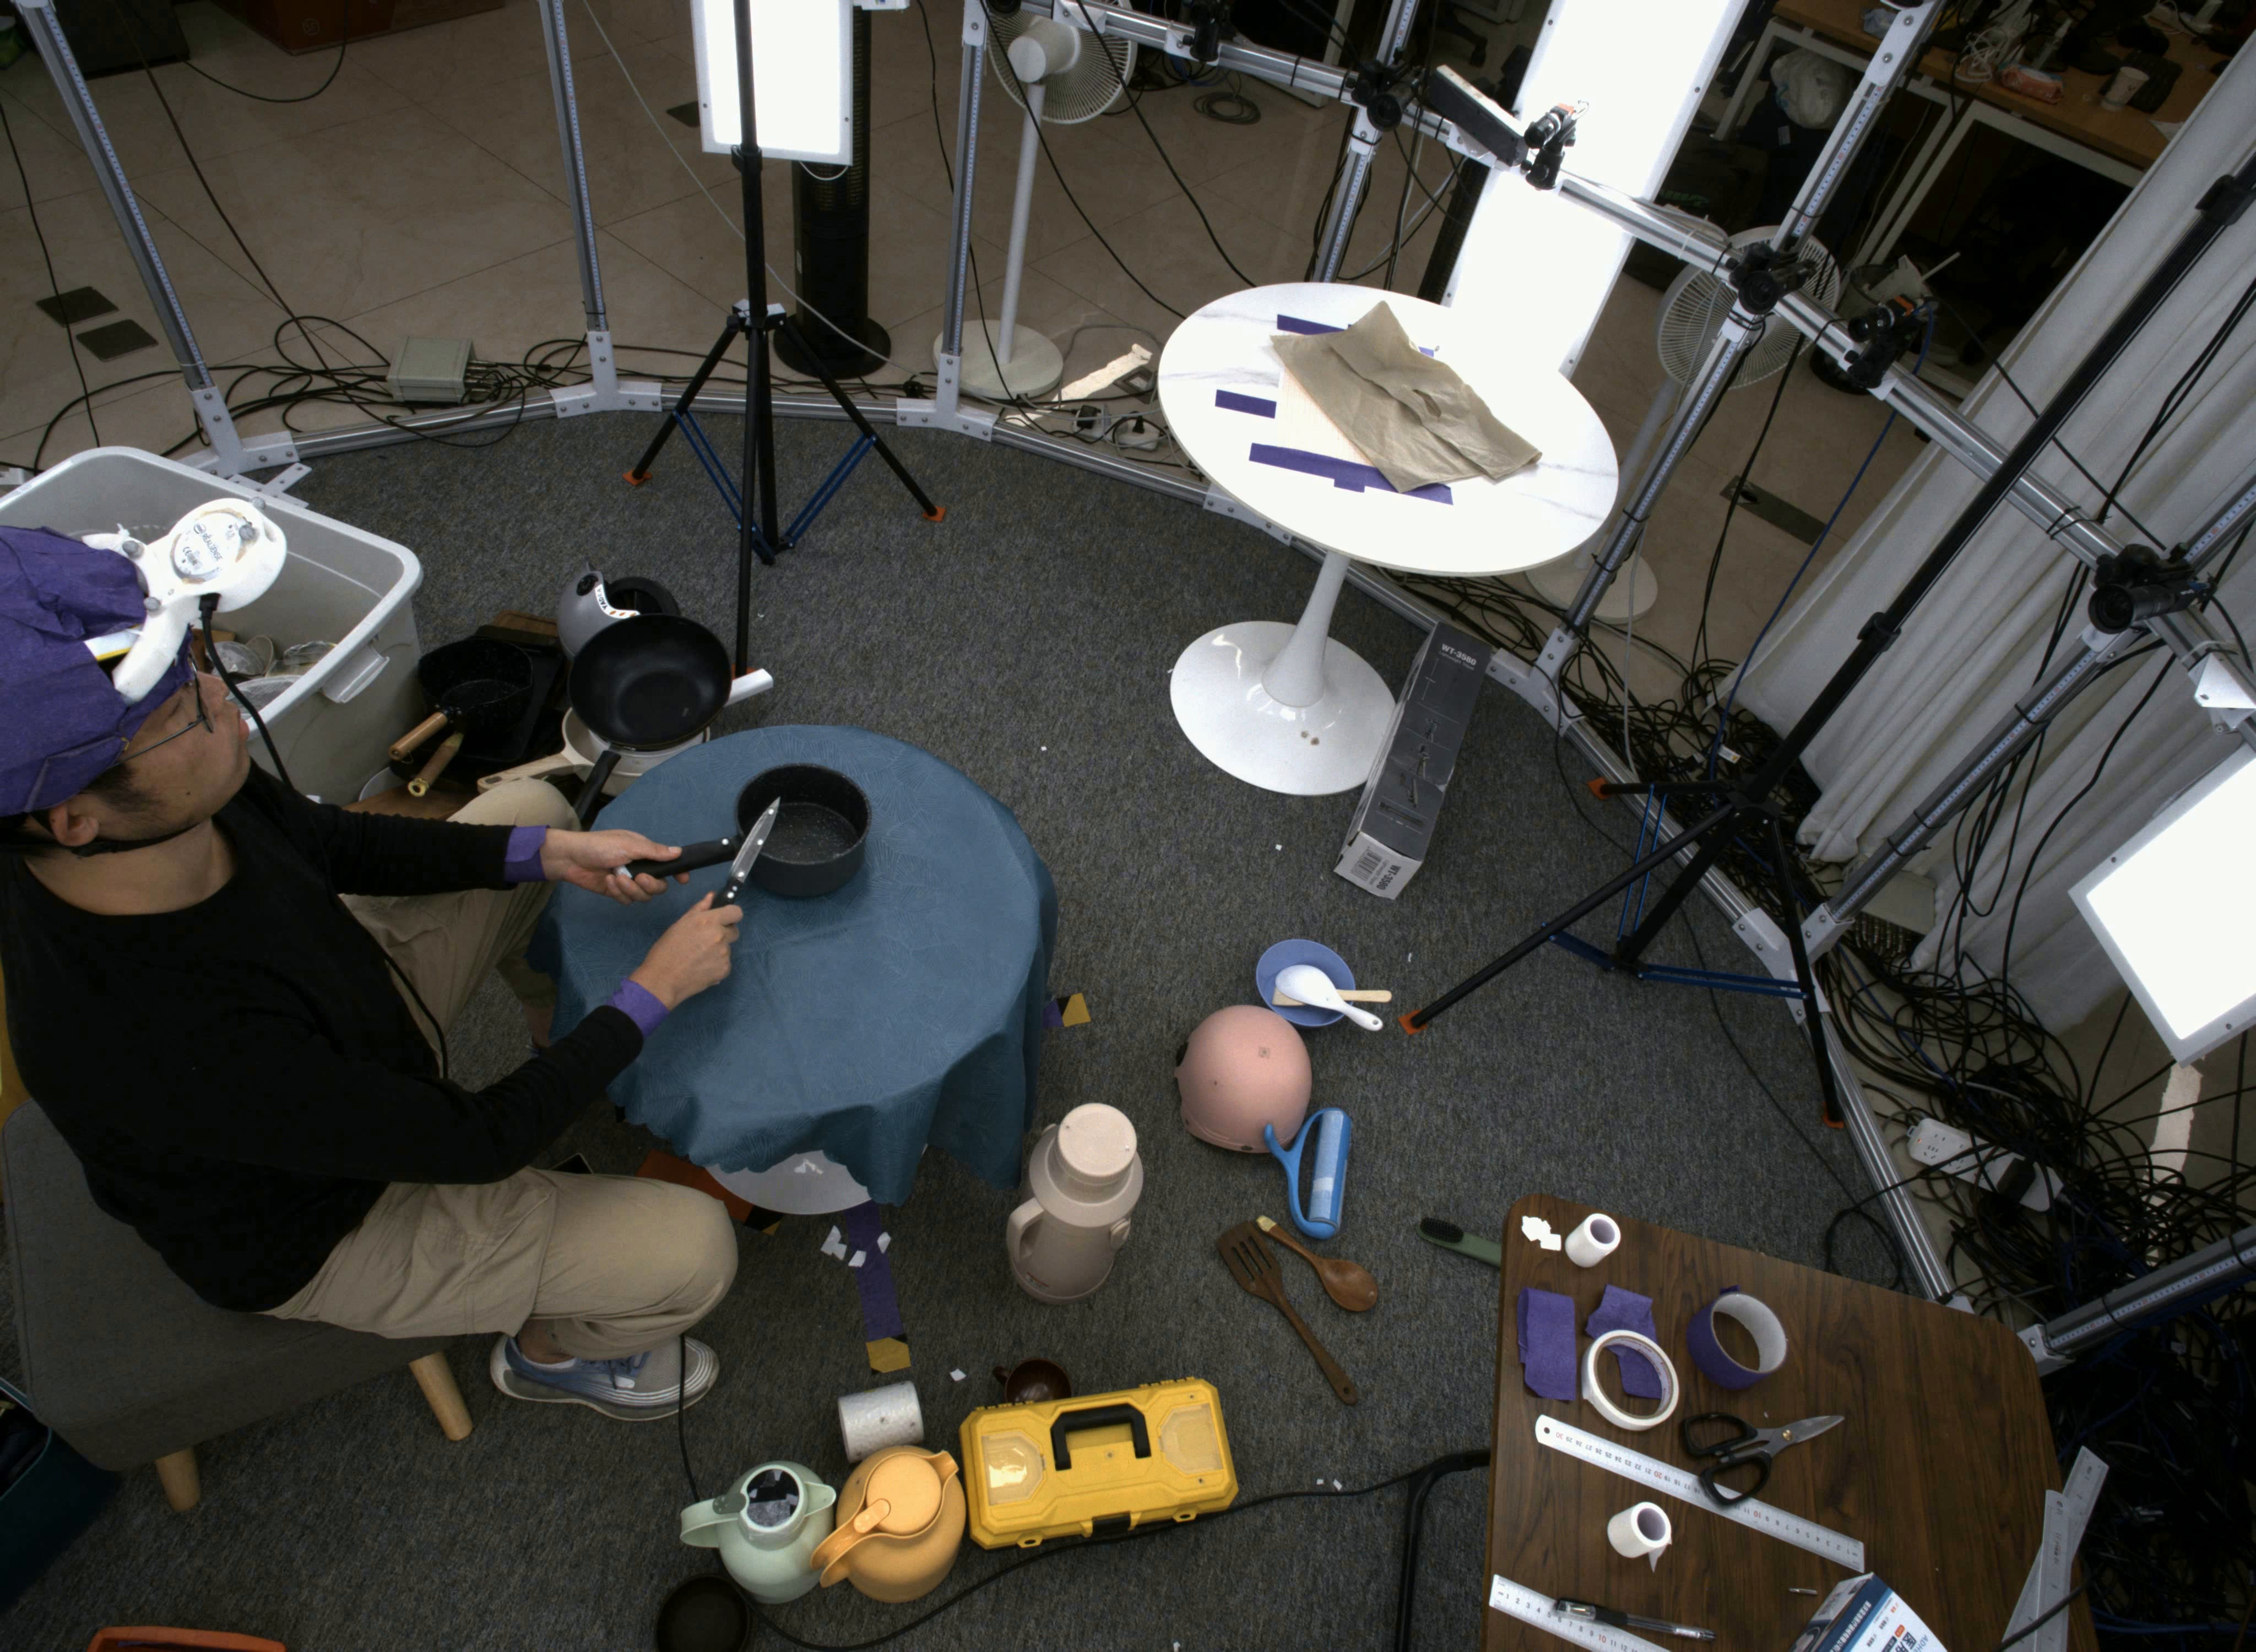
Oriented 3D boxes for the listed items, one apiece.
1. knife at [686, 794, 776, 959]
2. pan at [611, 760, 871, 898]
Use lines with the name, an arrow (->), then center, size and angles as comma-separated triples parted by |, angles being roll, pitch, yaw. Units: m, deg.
knife -> -0.471, 0.056, 1.553 | 0.025, 0.016, 0.236 | 39, 53, -29
pan -> -0.482, 0.025, 1.618 | 0.331, 0.088, 0.167 | -19, 58, -32
